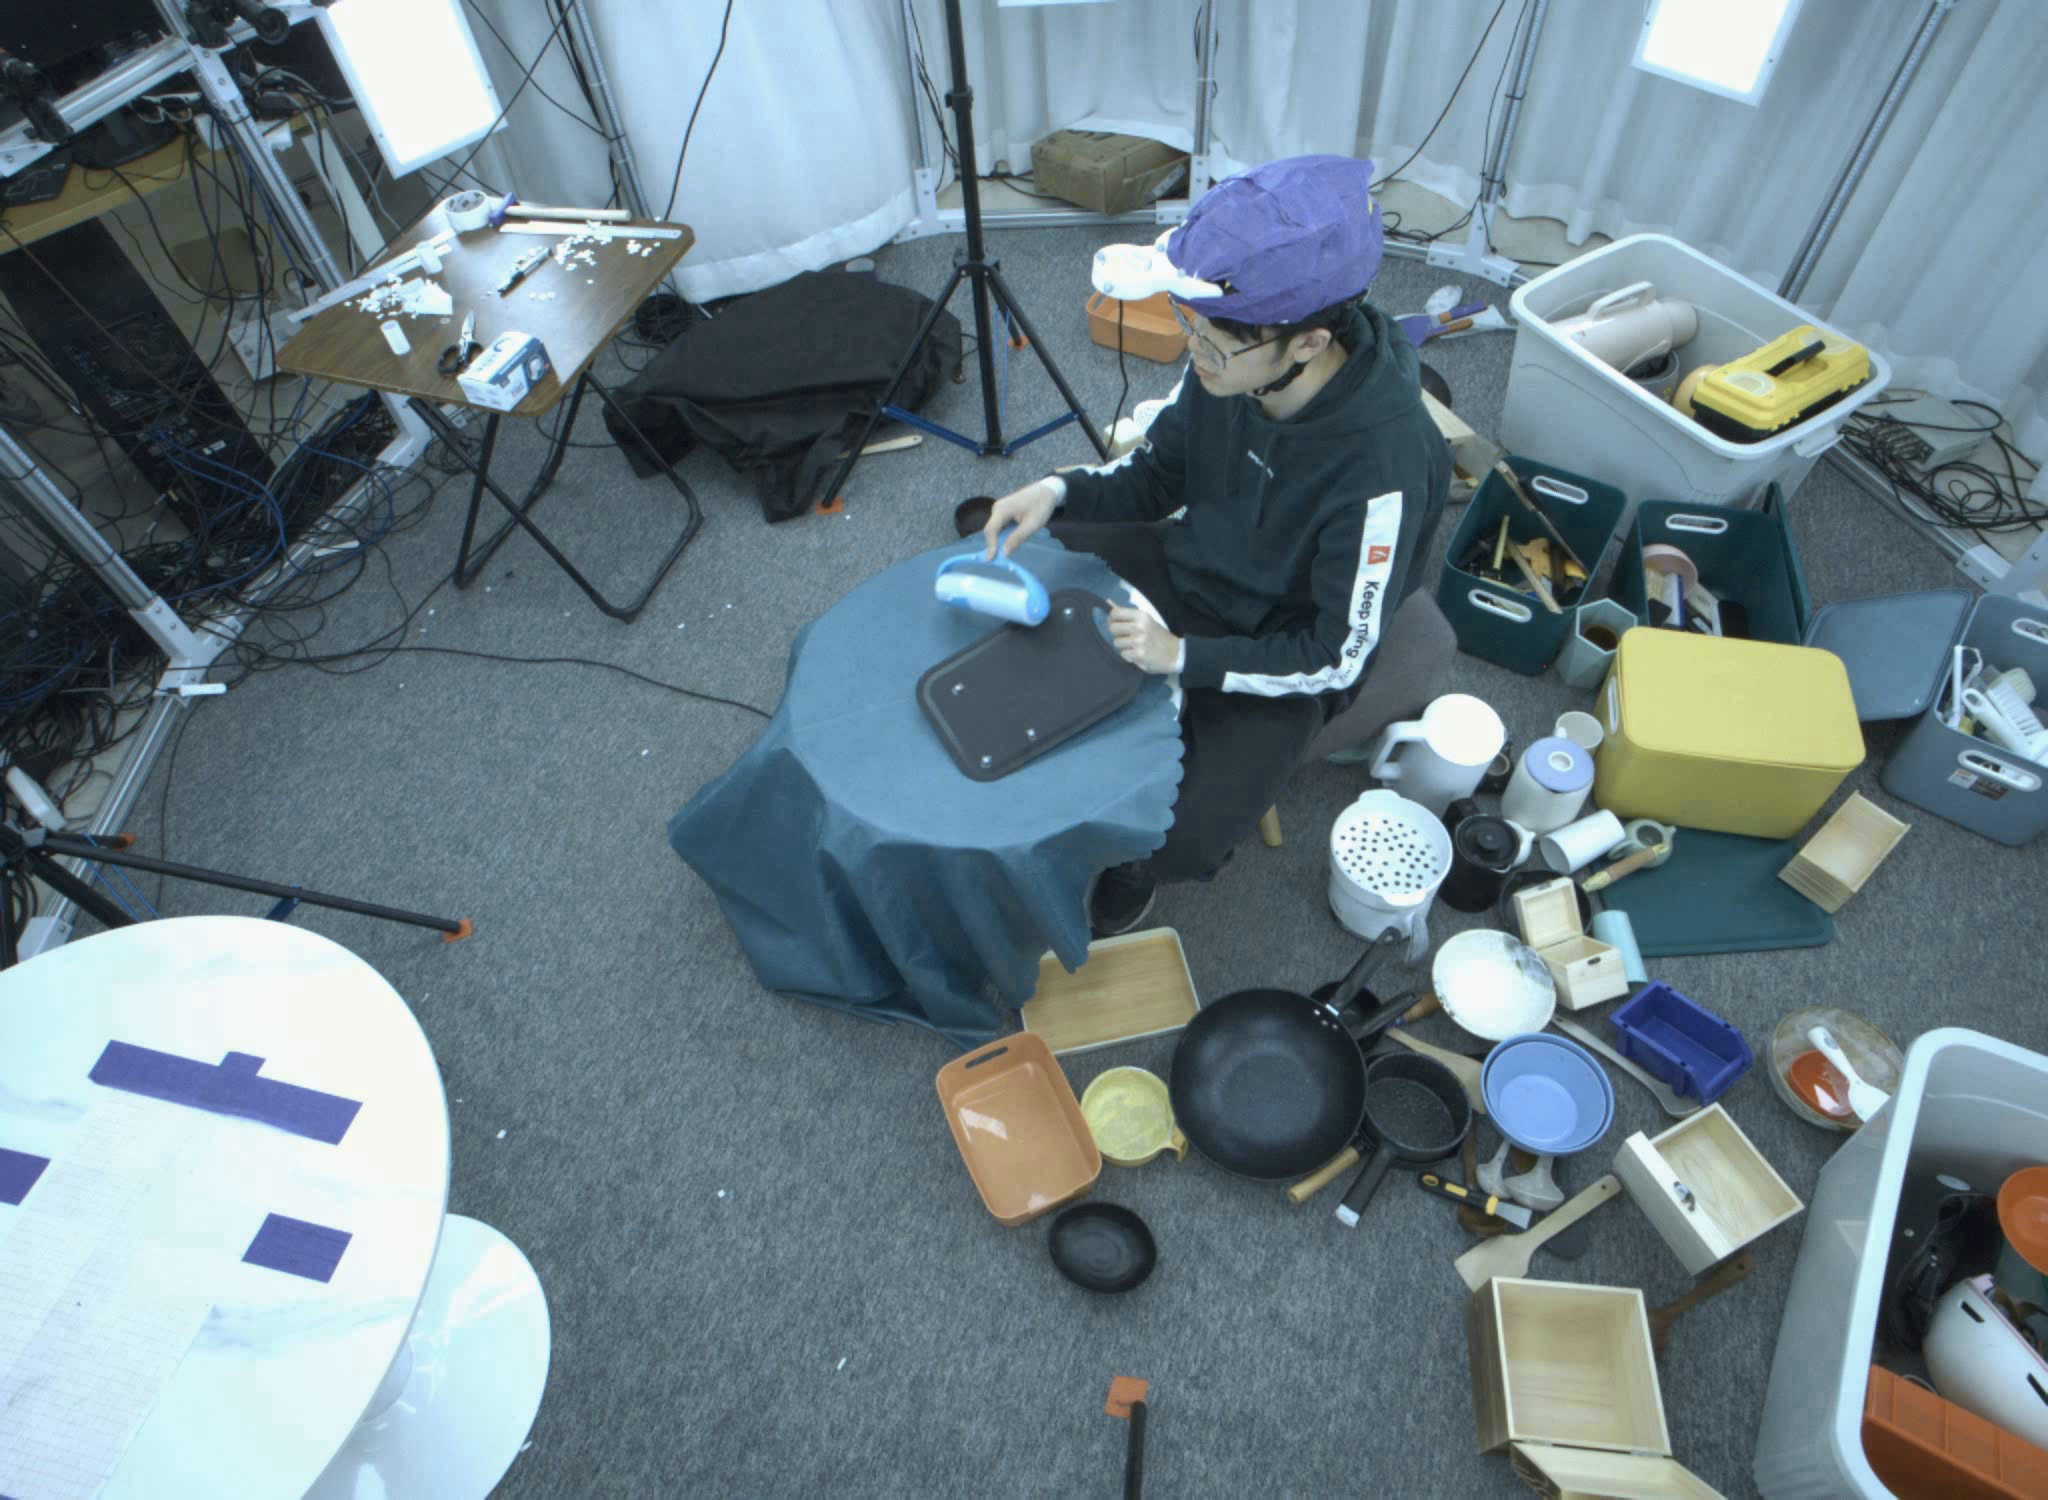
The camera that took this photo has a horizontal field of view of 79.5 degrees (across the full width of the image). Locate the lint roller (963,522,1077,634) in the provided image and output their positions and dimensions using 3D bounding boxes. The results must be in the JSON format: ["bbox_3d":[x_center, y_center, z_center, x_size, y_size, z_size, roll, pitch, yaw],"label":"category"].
[{"bbox_3d":[0.012,-0.275,1.847,0.223,0.069,0.180,18,84,41],"label":"lint roller"}]

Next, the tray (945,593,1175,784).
[{"bbox_3d":[0.057,-0.098,1.796,0.326,0.010,0.208,-30,70,-4],"label":"tray"}]
